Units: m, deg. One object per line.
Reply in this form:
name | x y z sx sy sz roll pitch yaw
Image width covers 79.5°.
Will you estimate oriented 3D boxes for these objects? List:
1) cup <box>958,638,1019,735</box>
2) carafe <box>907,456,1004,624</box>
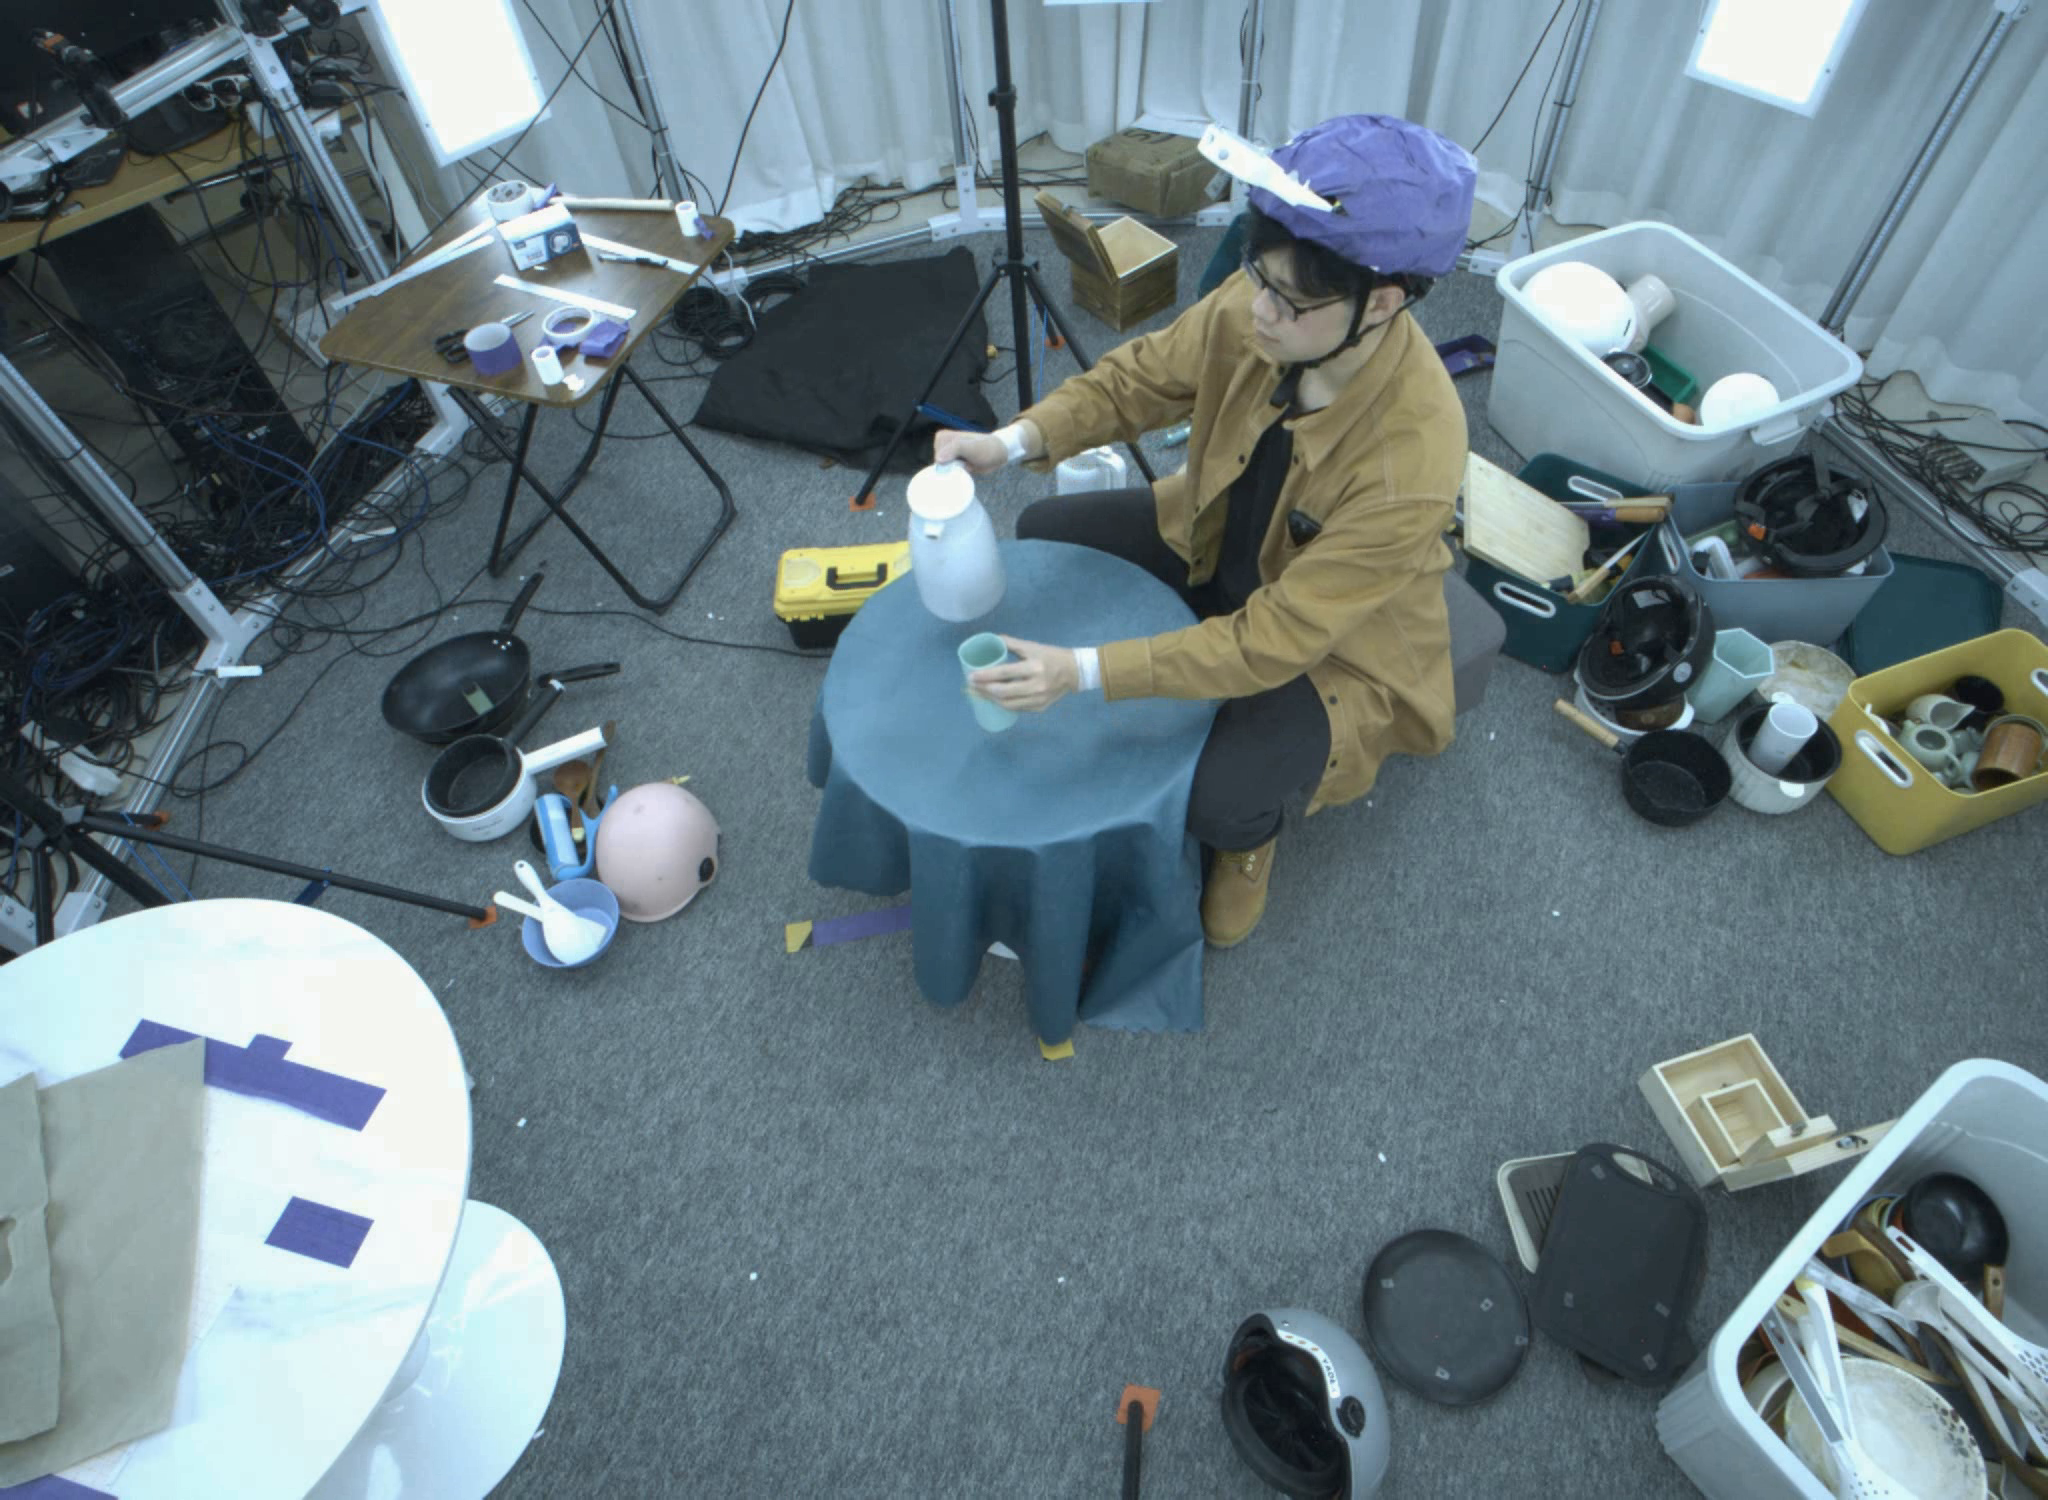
cup | -0.047 -0.088 1.703 0.066 0.134 0.066 -4 51 7
carafe | -0.103 -0.315 1.749 0.132 0.251 0.167 7 66 8
